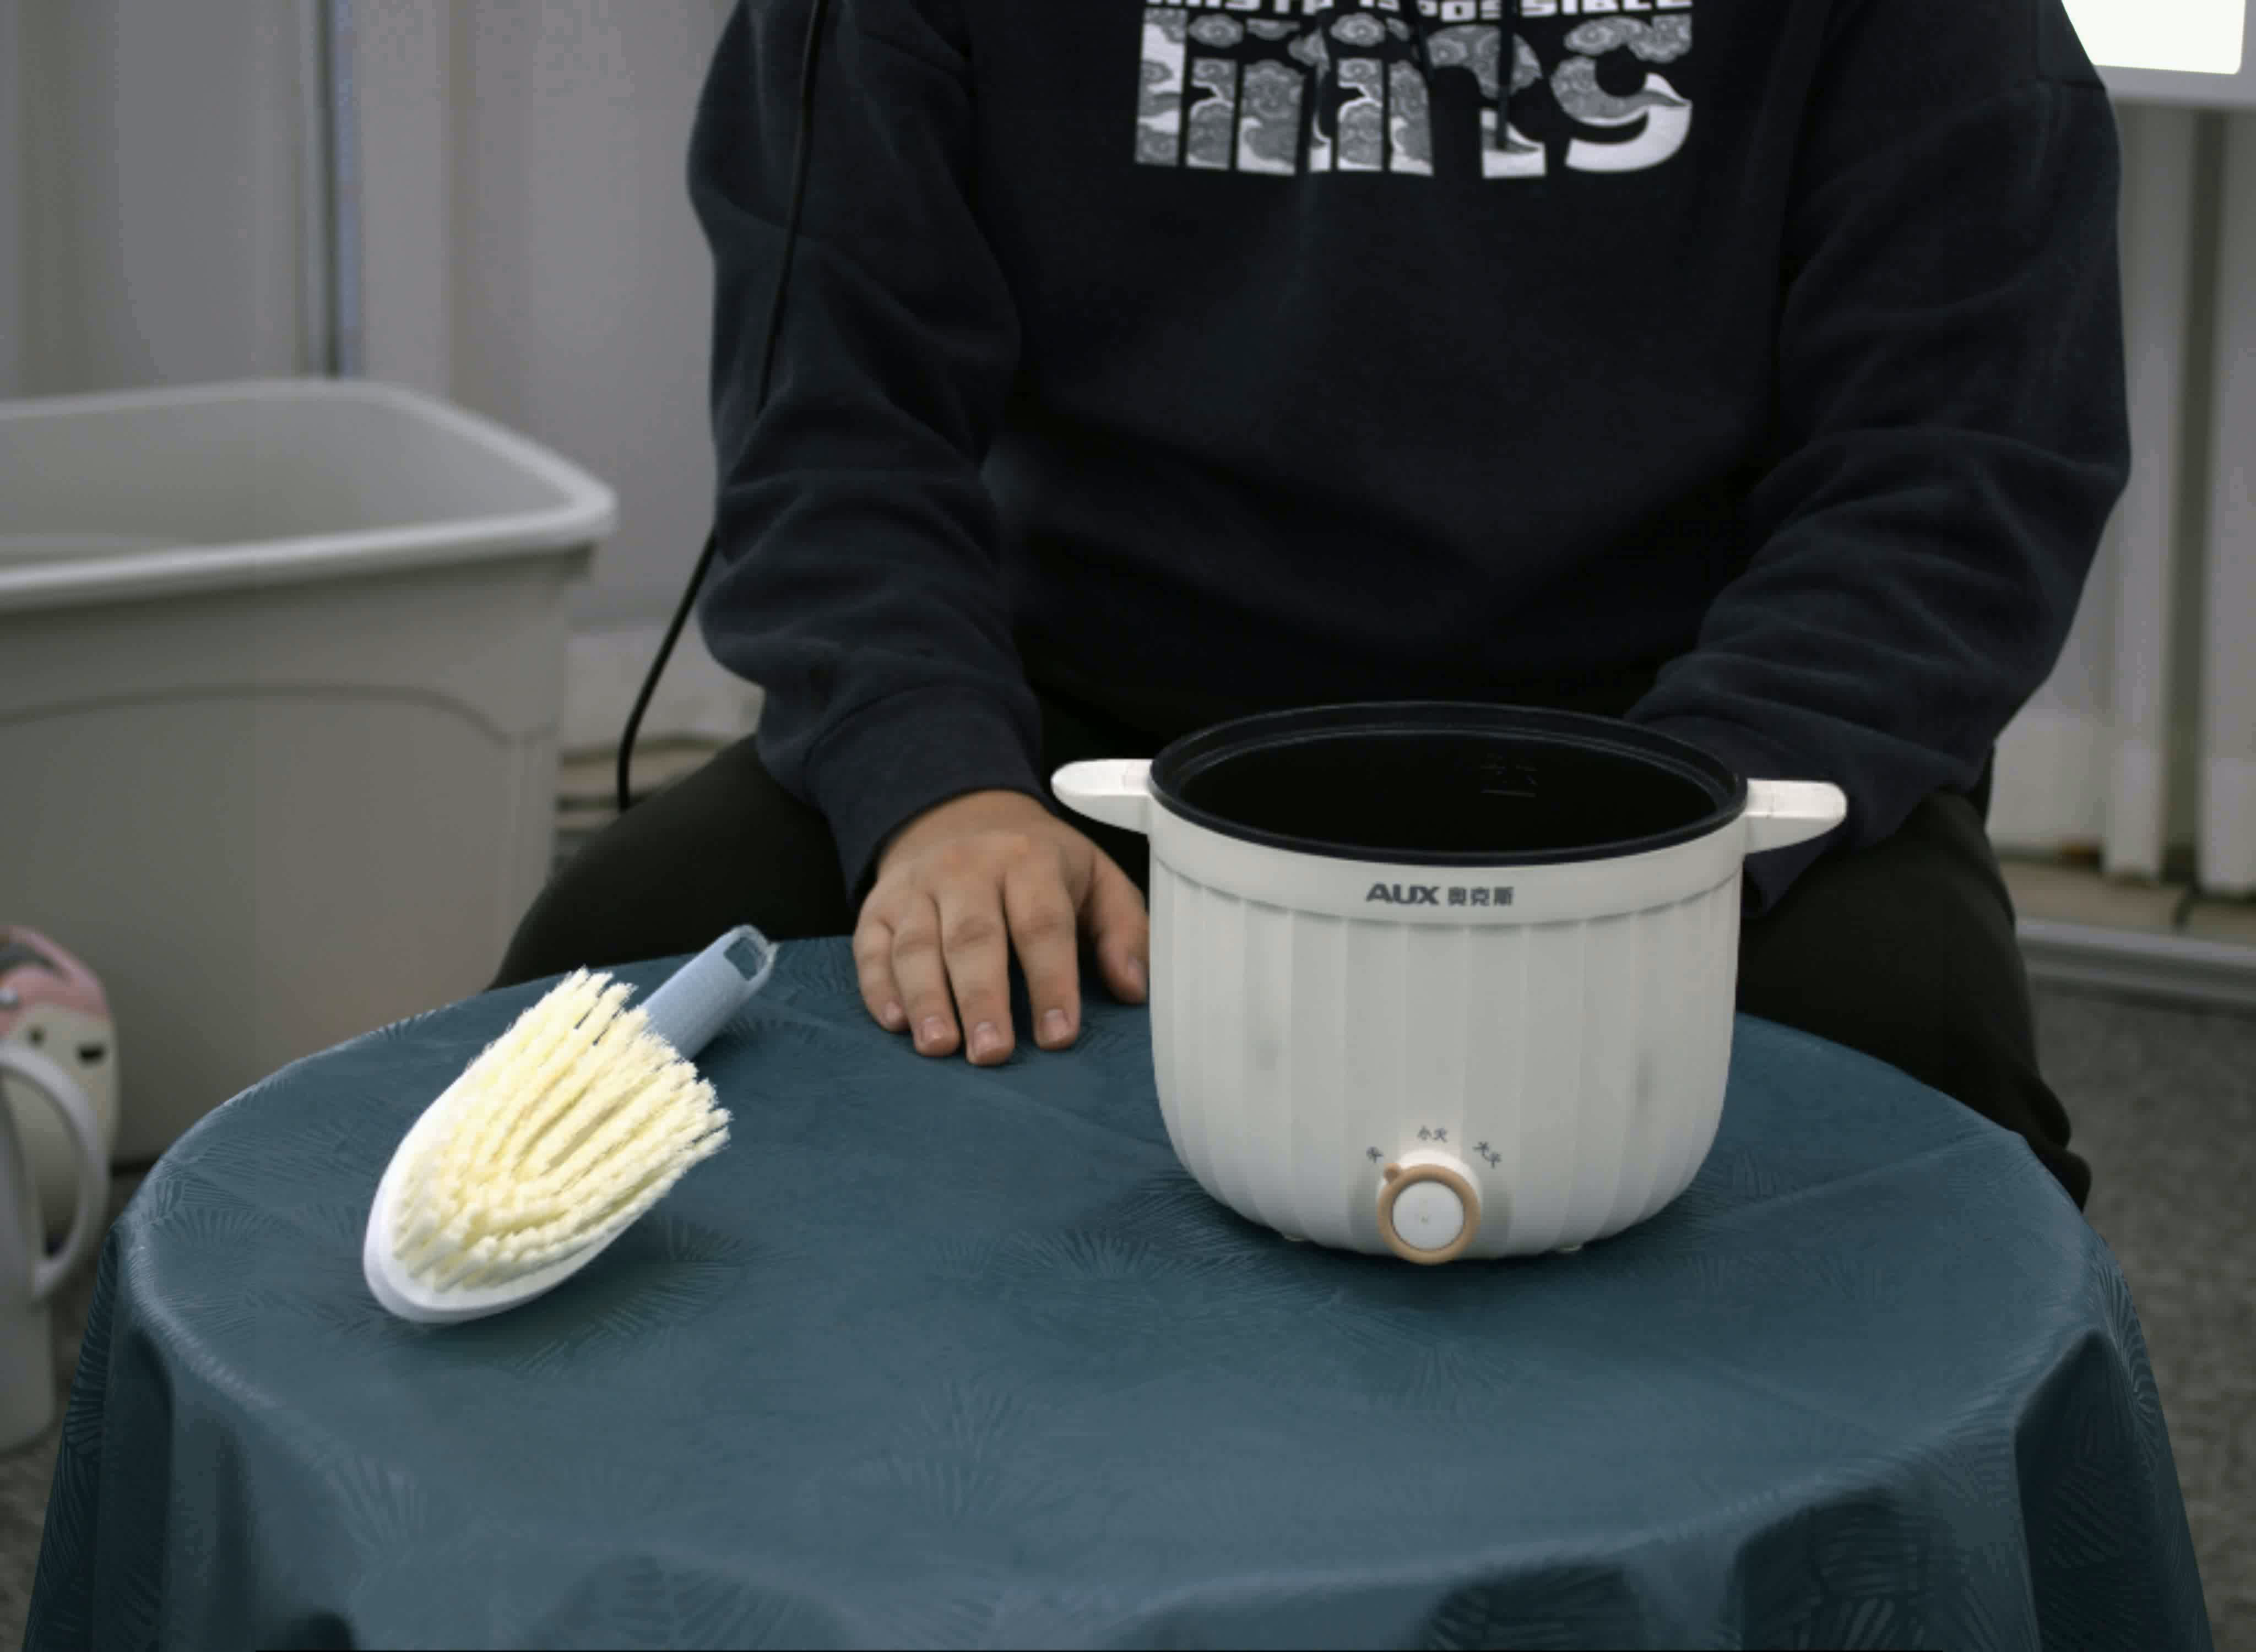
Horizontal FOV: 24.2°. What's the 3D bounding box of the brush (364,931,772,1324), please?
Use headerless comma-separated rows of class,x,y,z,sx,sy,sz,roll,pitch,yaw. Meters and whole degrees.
brush,-0.150,0.066,1.629,0.084,0.084,0.325,-1,16,15

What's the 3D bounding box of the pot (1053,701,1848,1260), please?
pot,0.097,0.049,1.599,0.239,0.143,0.190,1,13,4
